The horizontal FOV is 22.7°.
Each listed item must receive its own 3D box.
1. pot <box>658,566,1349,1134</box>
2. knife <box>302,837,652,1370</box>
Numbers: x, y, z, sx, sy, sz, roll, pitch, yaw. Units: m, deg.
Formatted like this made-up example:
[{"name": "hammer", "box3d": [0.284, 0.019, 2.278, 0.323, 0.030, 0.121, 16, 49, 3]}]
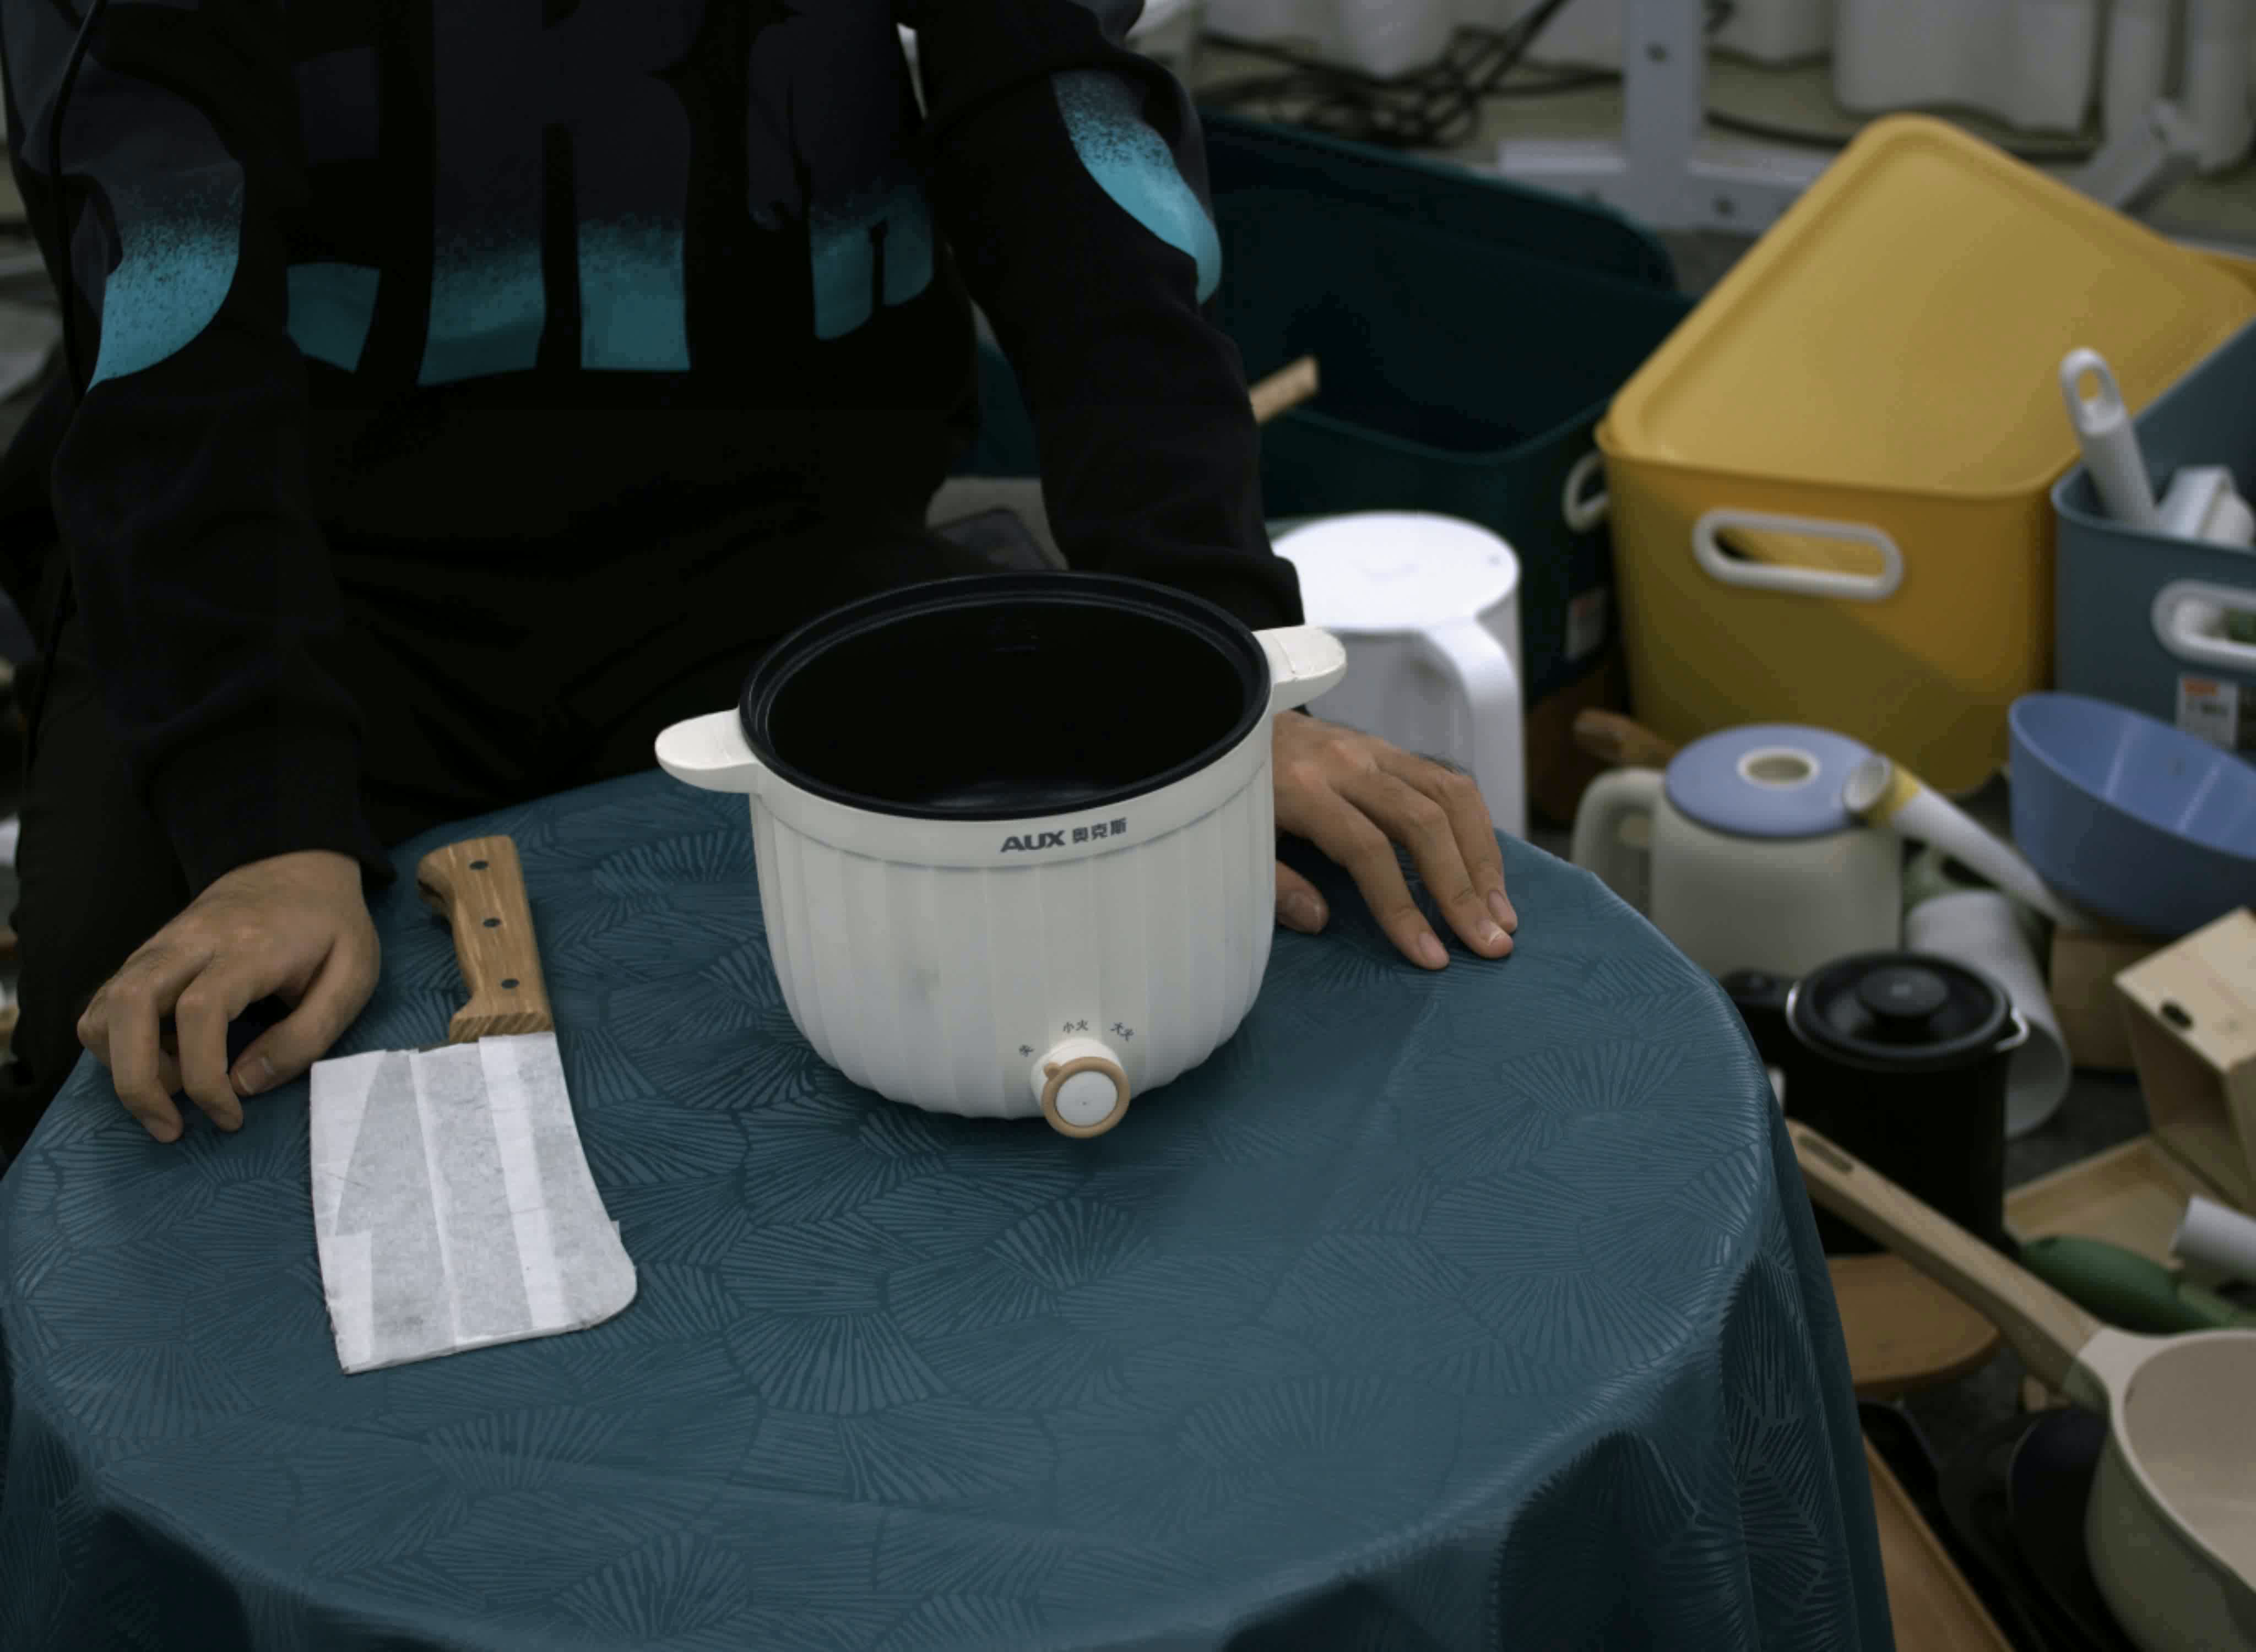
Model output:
[{"name": "pot", "box3d": [-0.035, 0.012, 1.927, 0.240, 0.141, 0.192, -10, 25, -10]}, {"name": "knife", "box3d": [-0.226, 0.091, 1.924, 0.113, 0.021, 0.320, -6, 30, -5]}]
